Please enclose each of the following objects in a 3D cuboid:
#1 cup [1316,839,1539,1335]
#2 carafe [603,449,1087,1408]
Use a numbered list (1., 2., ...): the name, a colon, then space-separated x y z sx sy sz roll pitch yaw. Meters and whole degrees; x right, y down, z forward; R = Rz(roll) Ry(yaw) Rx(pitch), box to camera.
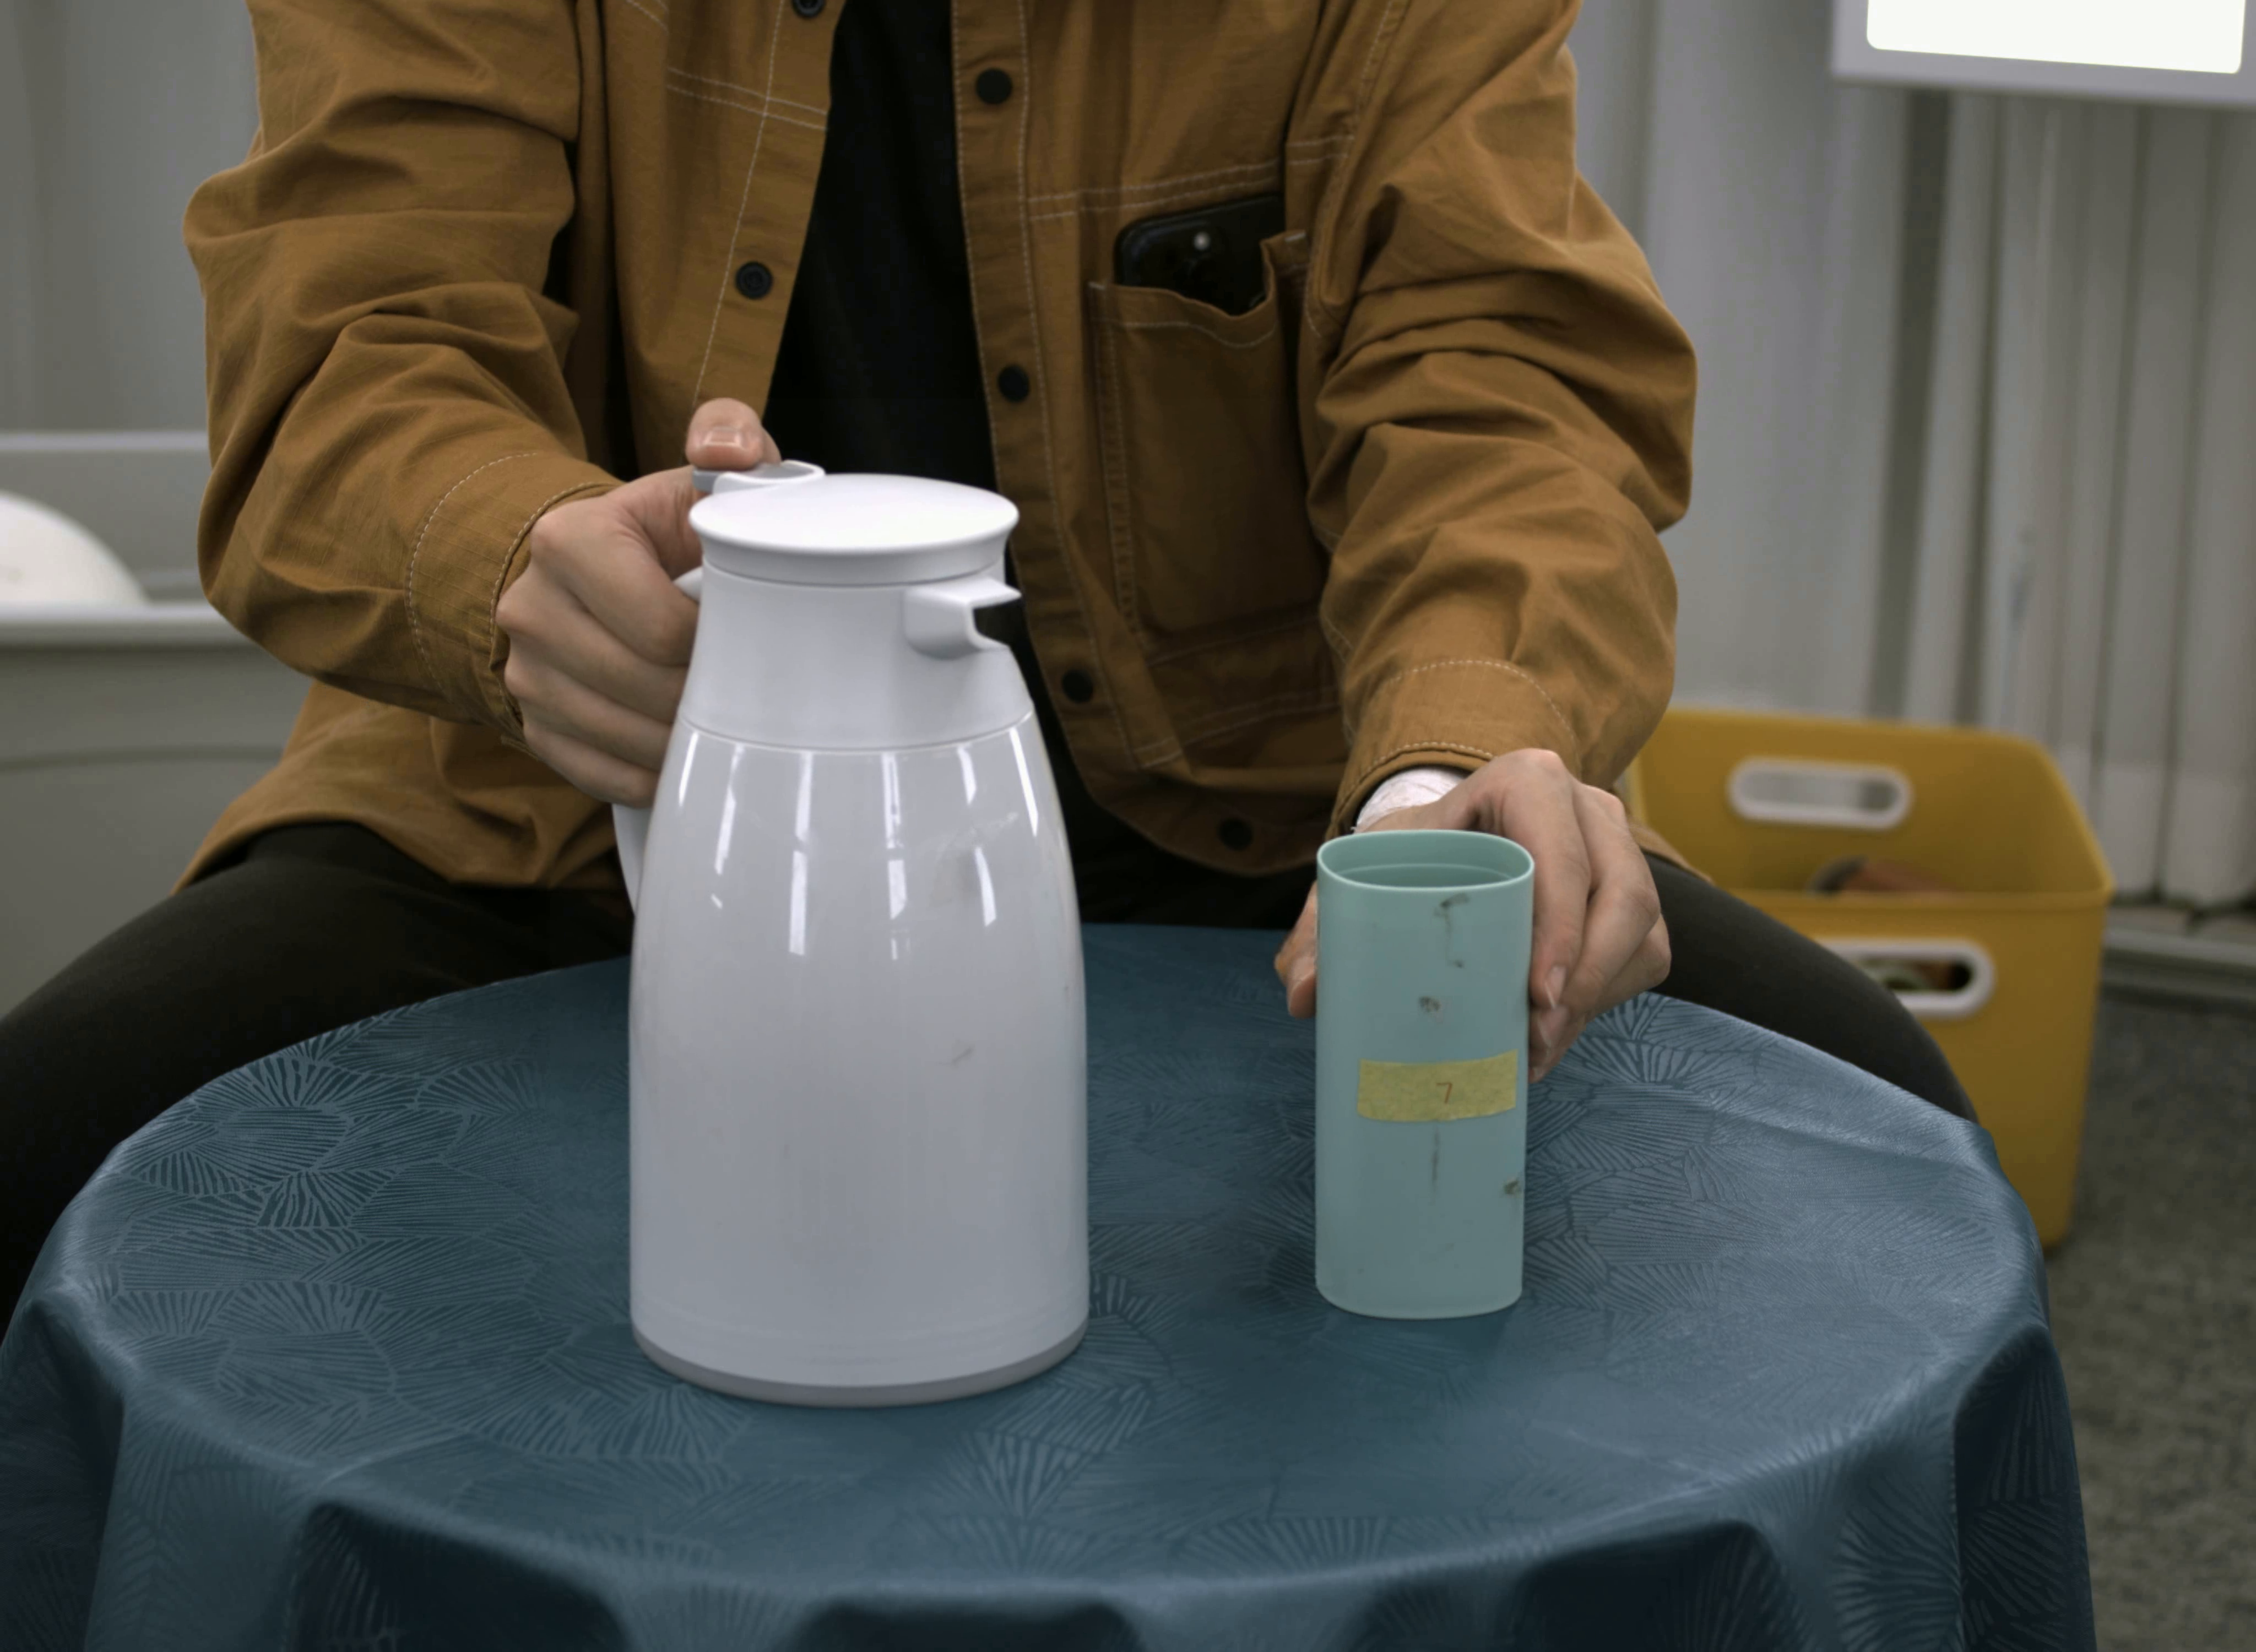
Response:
1. cup: 0.086 0.074 1.528 0.066 0.133 0.066 1 17 0
2. carafe: -0.090 0.020 1.486 0.133 0.250 0.165 -15 21 -41
